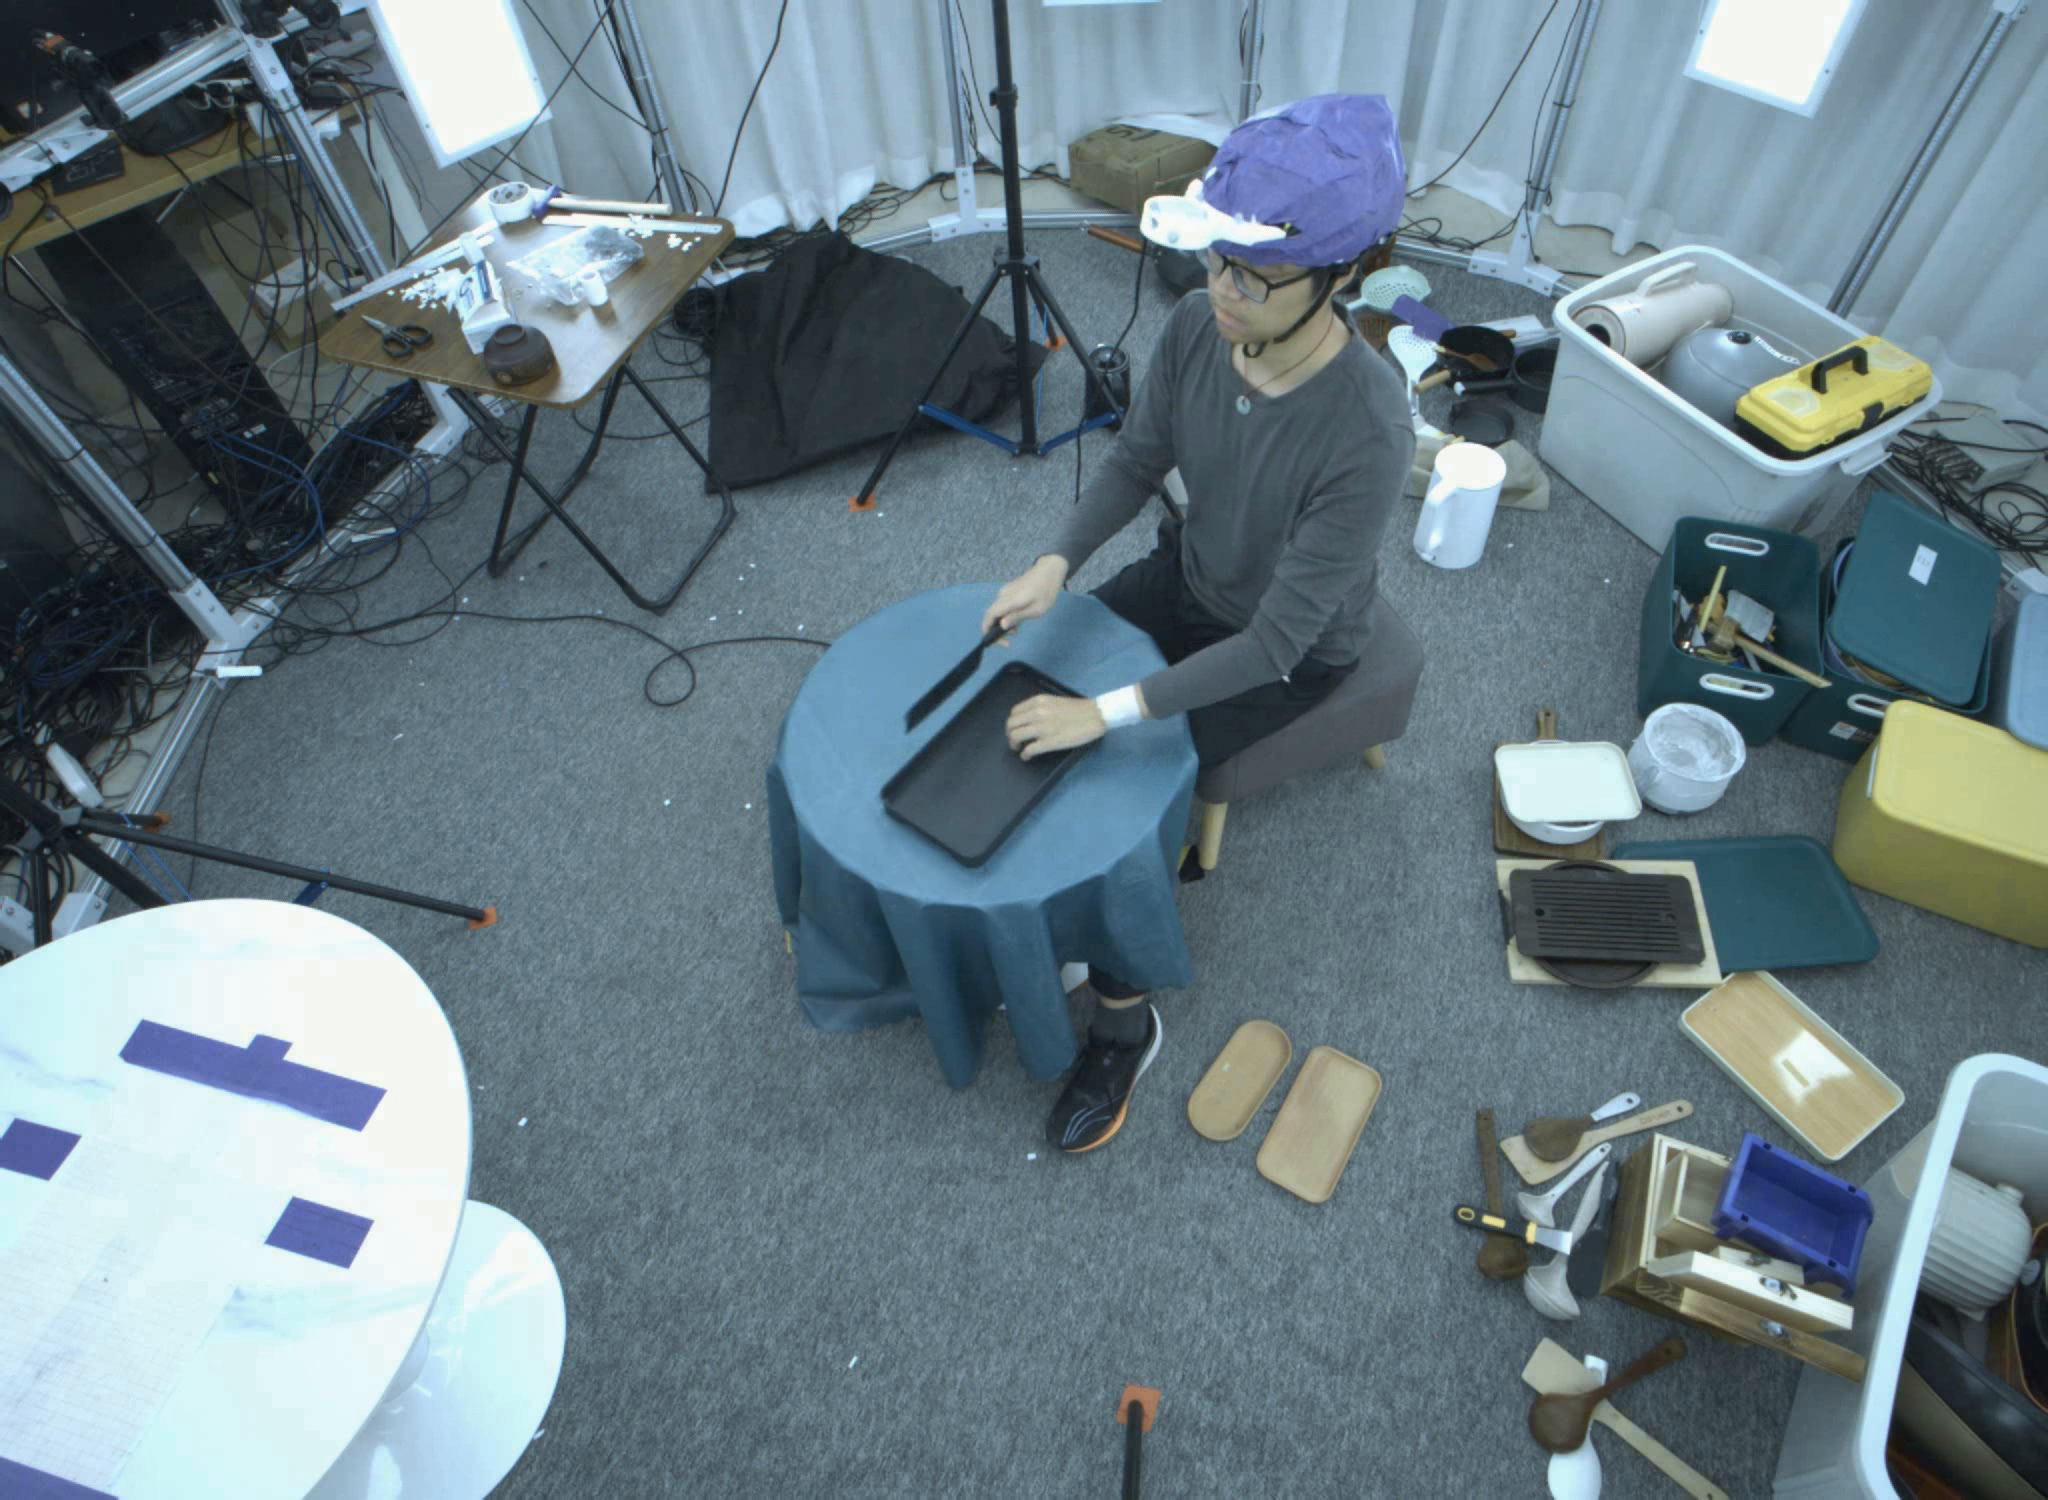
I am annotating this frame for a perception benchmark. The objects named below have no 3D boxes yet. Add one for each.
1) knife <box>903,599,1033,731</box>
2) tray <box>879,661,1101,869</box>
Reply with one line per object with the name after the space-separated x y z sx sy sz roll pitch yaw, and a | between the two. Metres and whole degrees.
-0.079 -0.128 1.759 0.020 0.081 0.304 35 55 12 | knife
-0.045 0.015 1.762 0.181 0.037 0.319 30 61 20 | tray
